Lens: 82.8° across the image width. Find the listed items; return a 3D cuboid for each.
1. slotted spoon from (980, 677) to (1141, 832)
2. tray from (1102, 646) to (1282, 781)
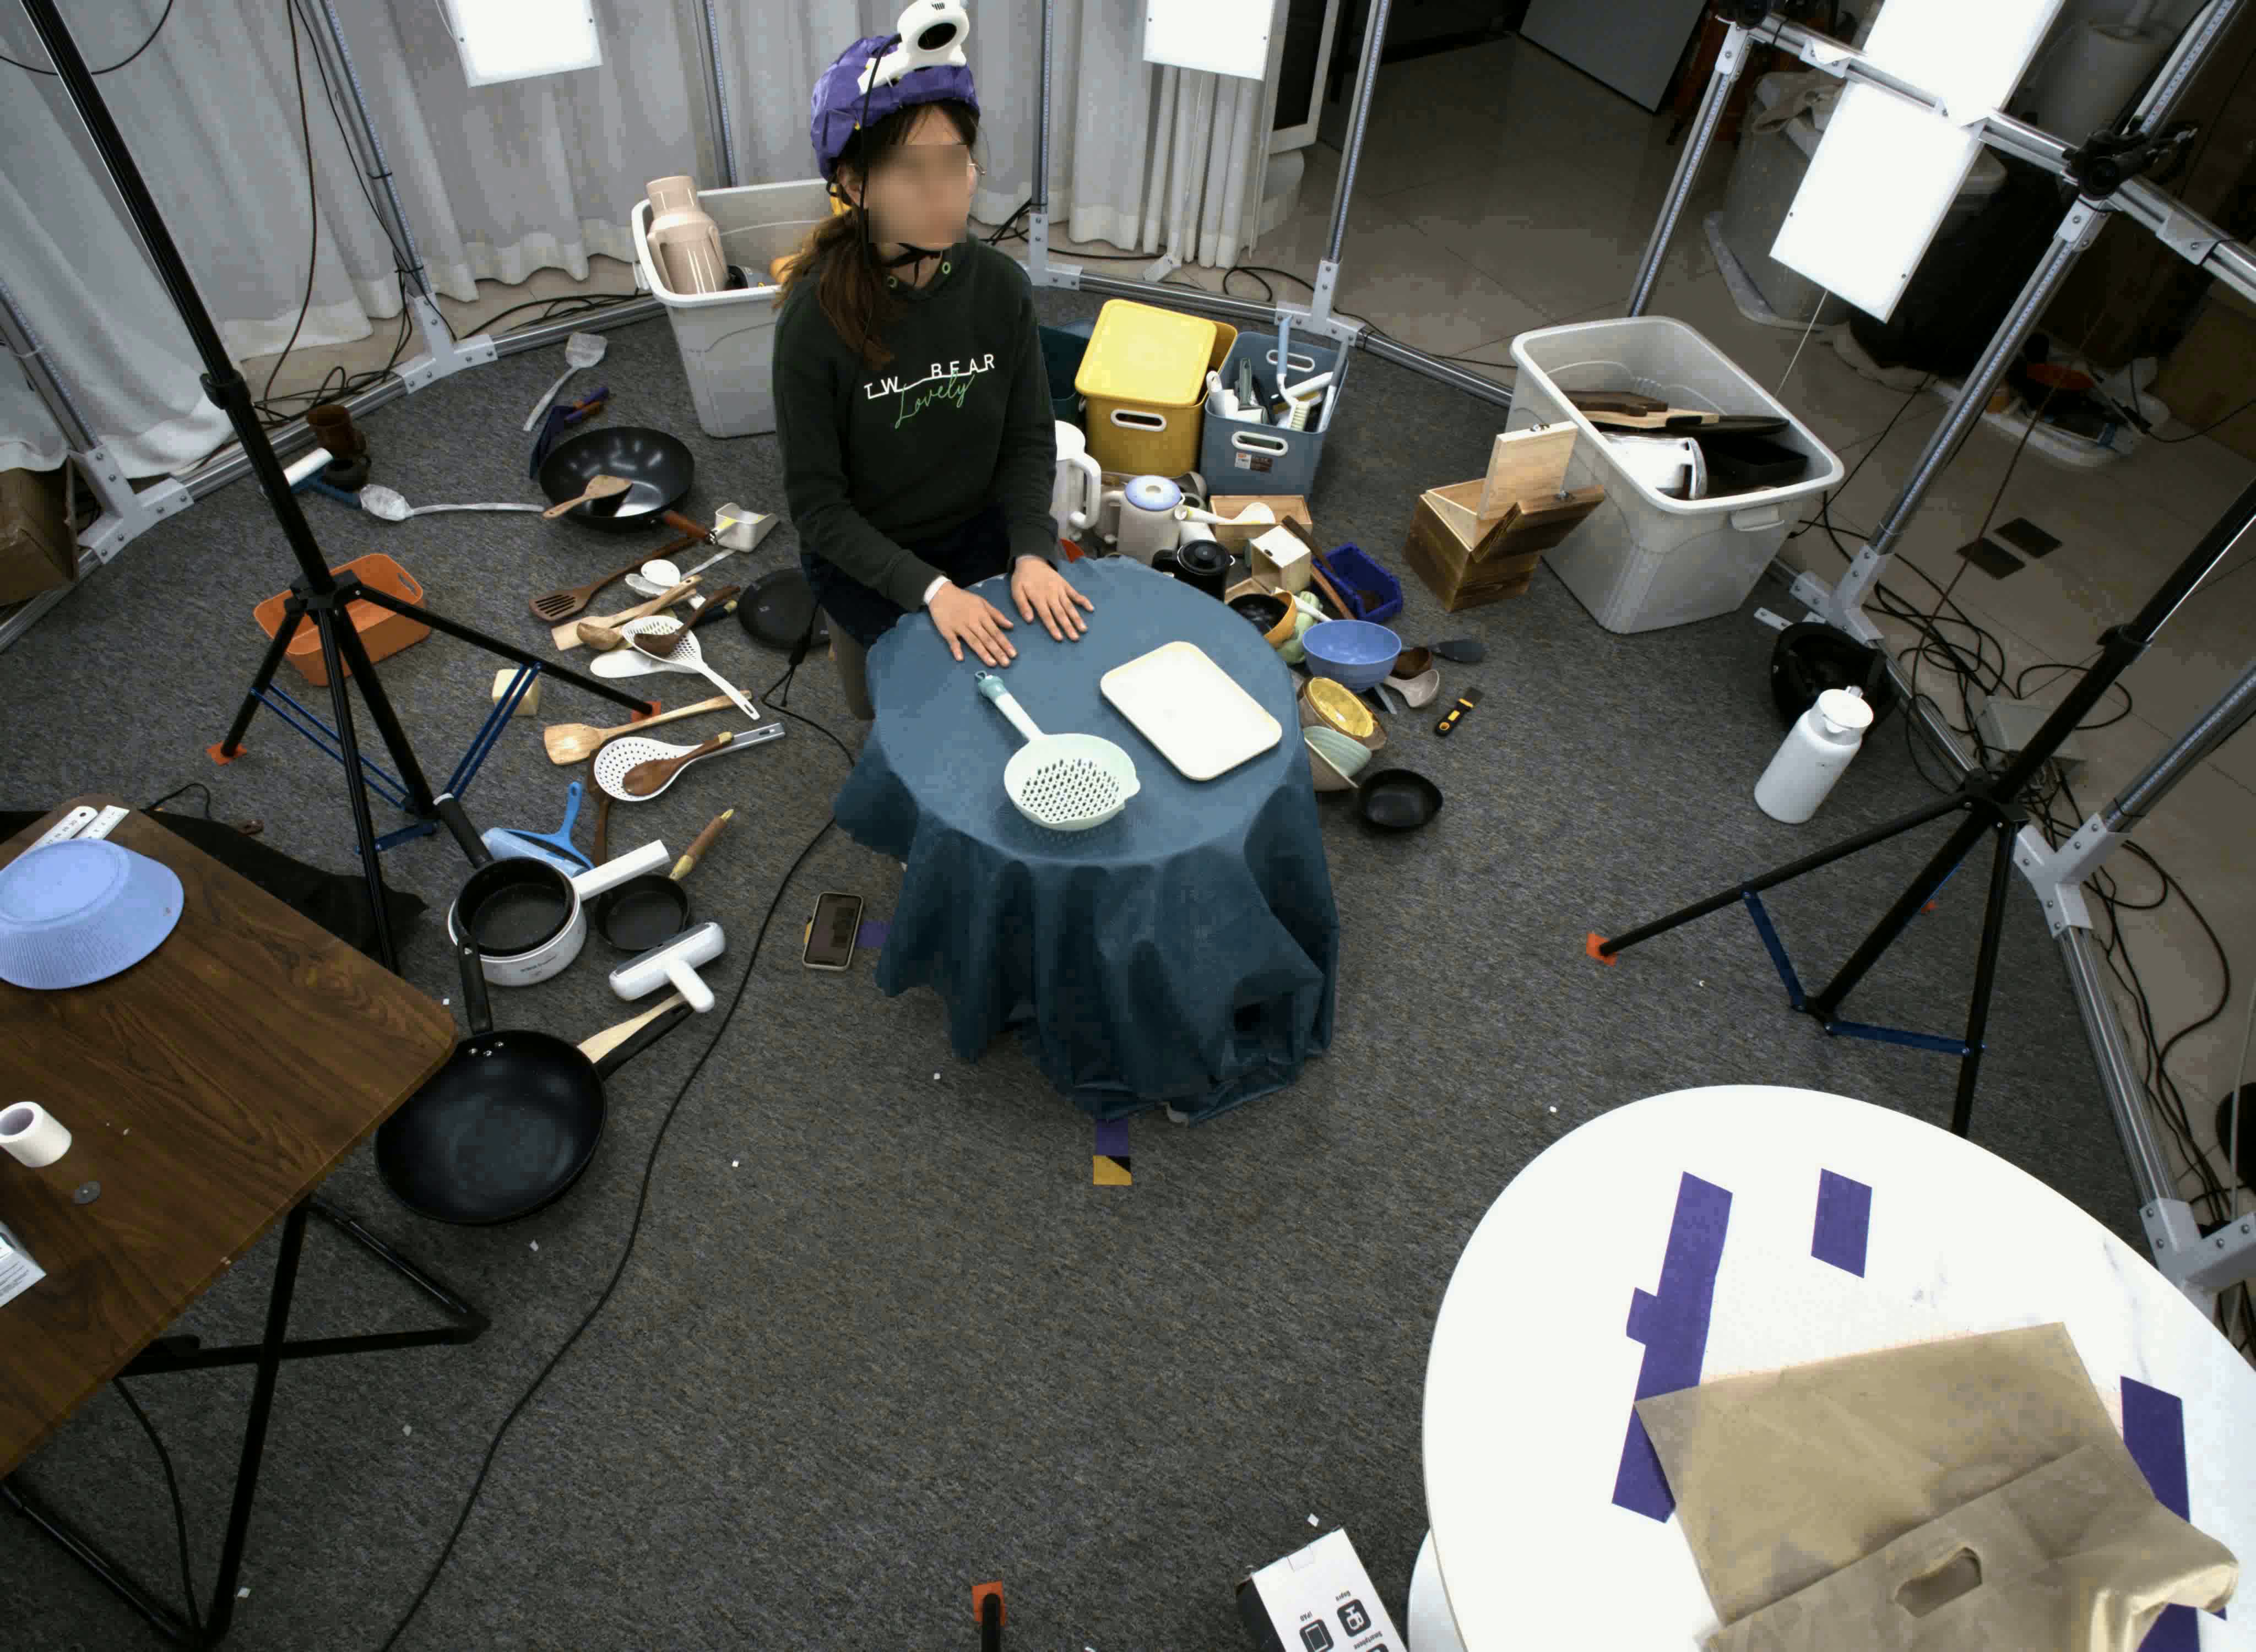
[{"bbox_3d":[-0.122,-0.113,1.733,0.170,0.073,0.366,-20,52,-21],"label":"slotted spoon"},{"bbox_3d":[0.088,-0.161,1.820,0.172,0.017,0.244,-27,55,-25],"label":"tray"}]
